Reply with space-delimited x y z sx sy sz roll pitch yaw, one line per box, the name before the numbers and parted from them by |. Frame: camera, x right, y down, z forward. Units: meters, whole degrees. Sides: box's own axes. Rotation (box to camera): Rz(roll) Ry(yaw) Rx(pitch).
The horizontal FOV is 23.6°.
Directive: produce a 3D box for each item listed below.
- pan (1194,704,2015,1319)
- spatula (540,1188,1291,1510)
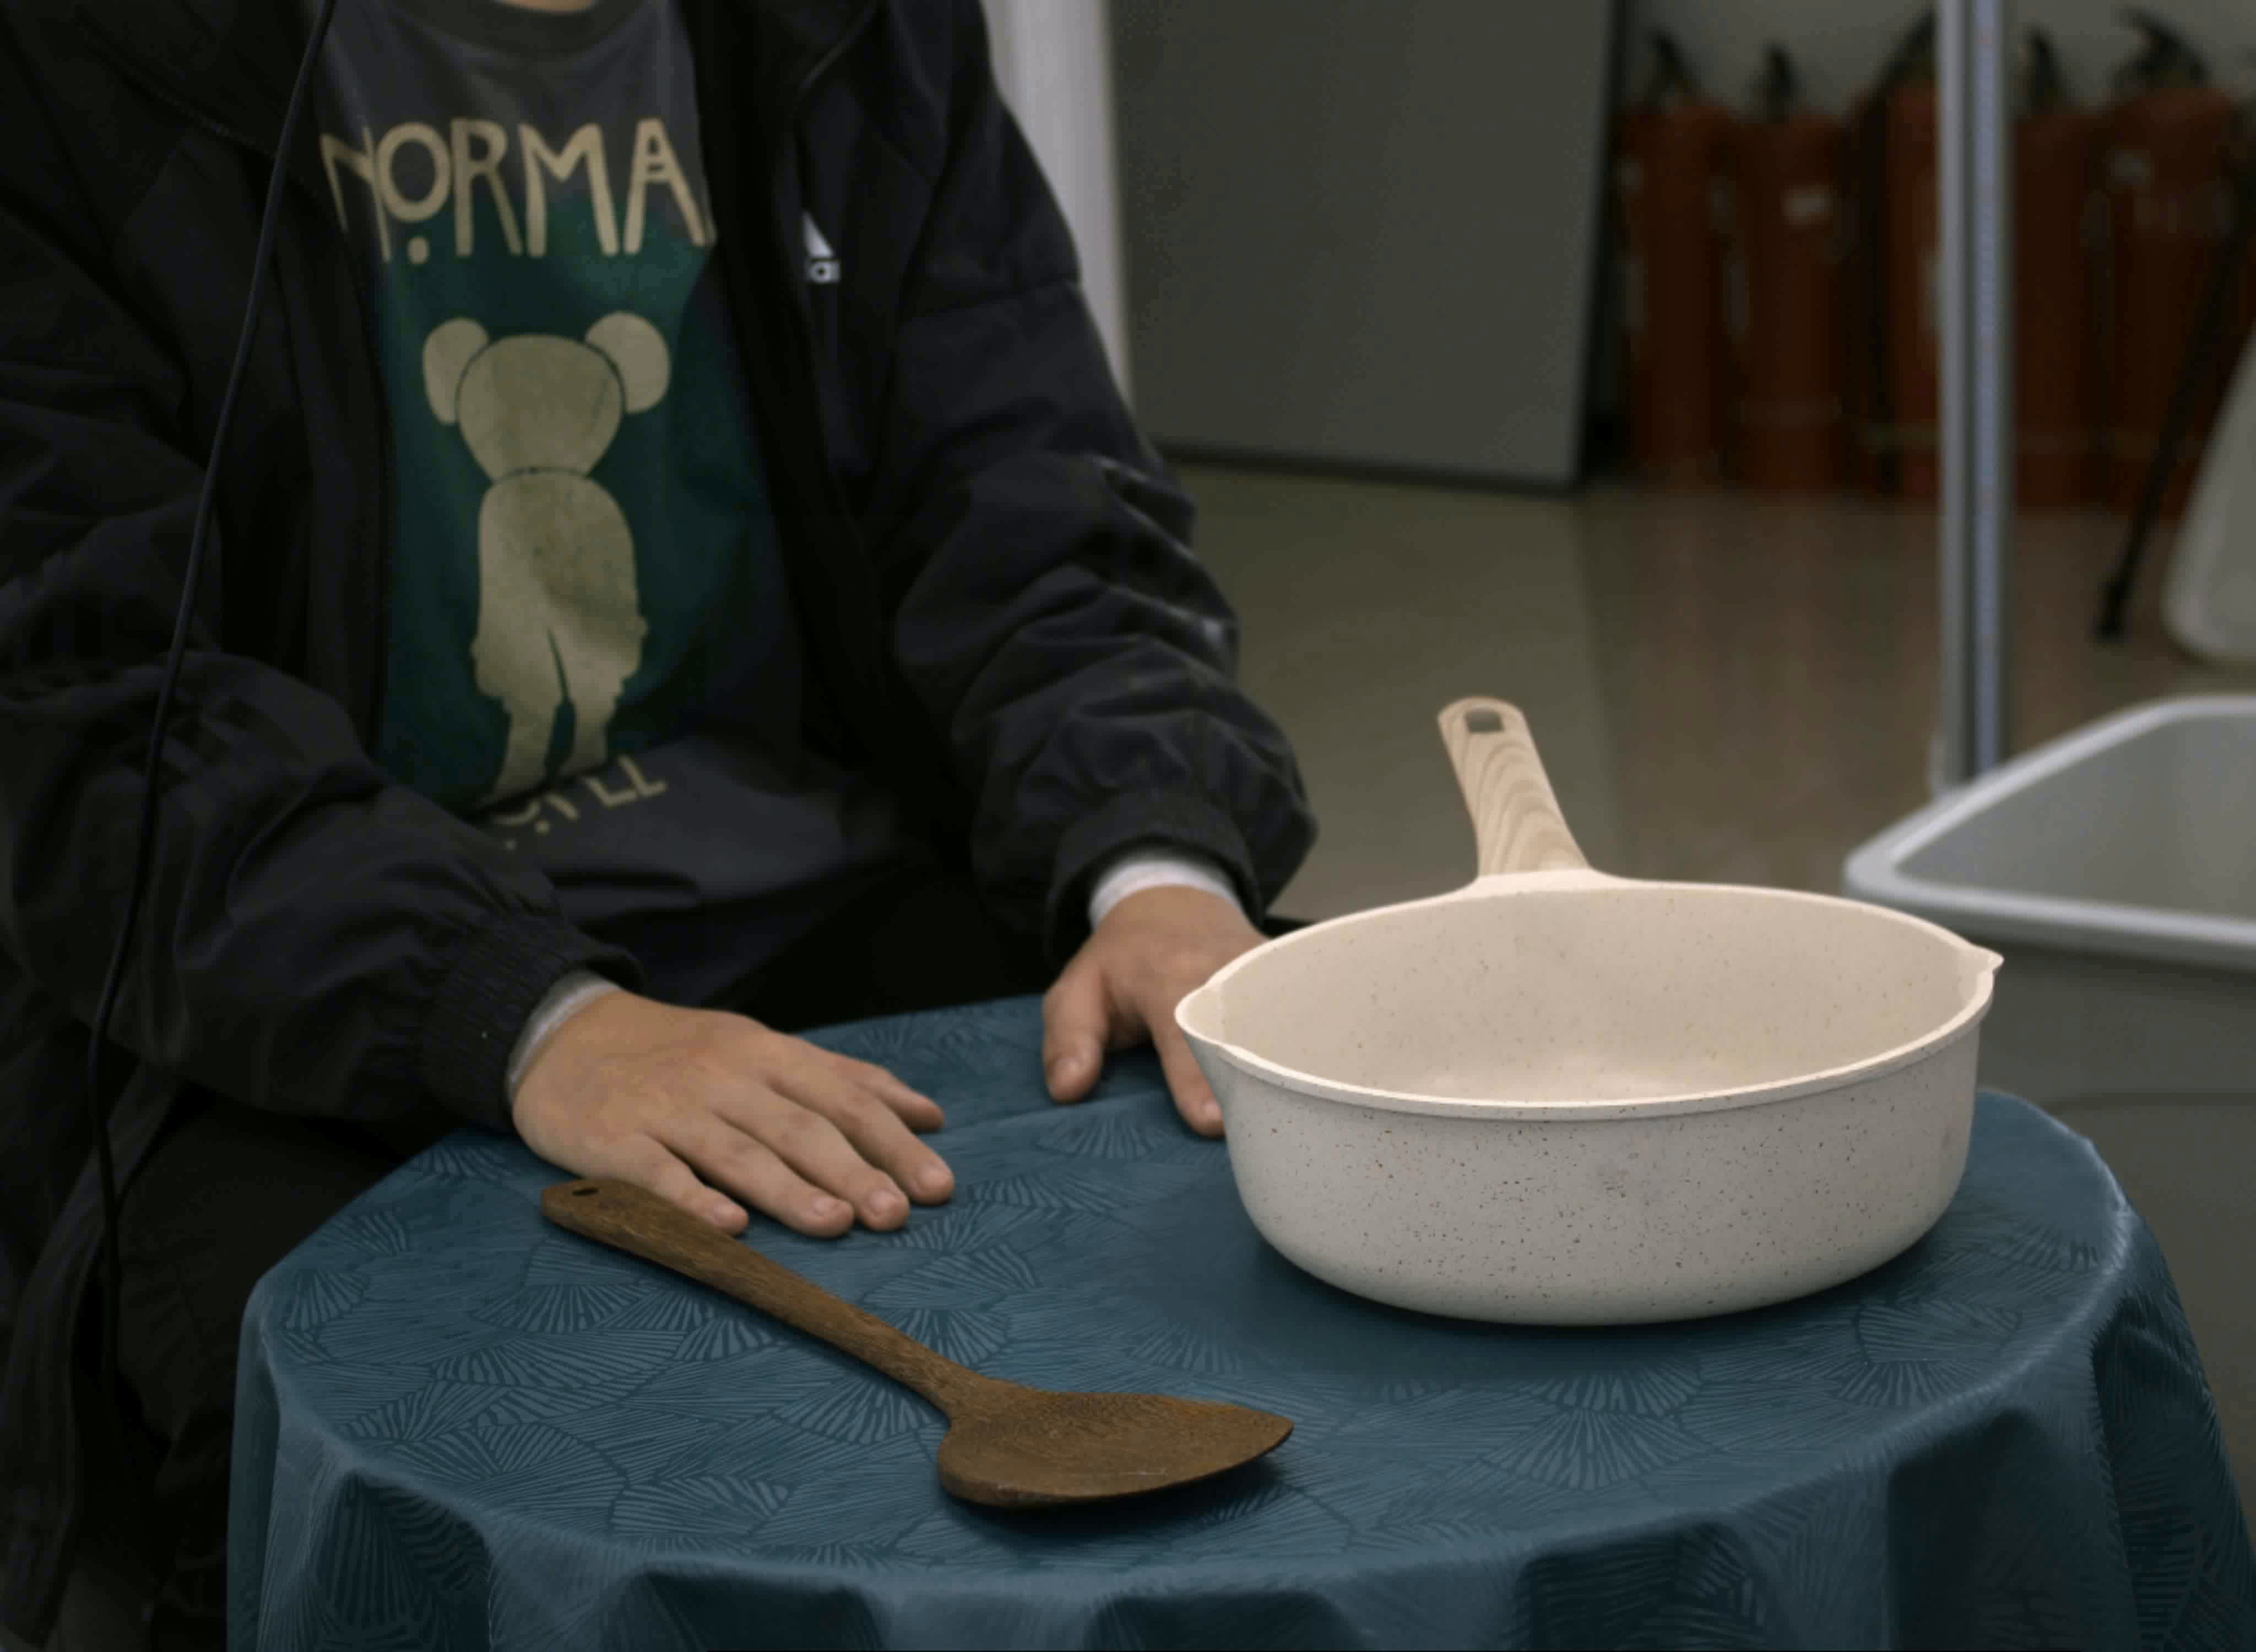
pan | 0.147 0.056 1.779 0.260 0.103 0.436 -6 14 -1
spatula | -0.087 0.153 1.640 0.094 0.016 0.390 -12 15 -30
